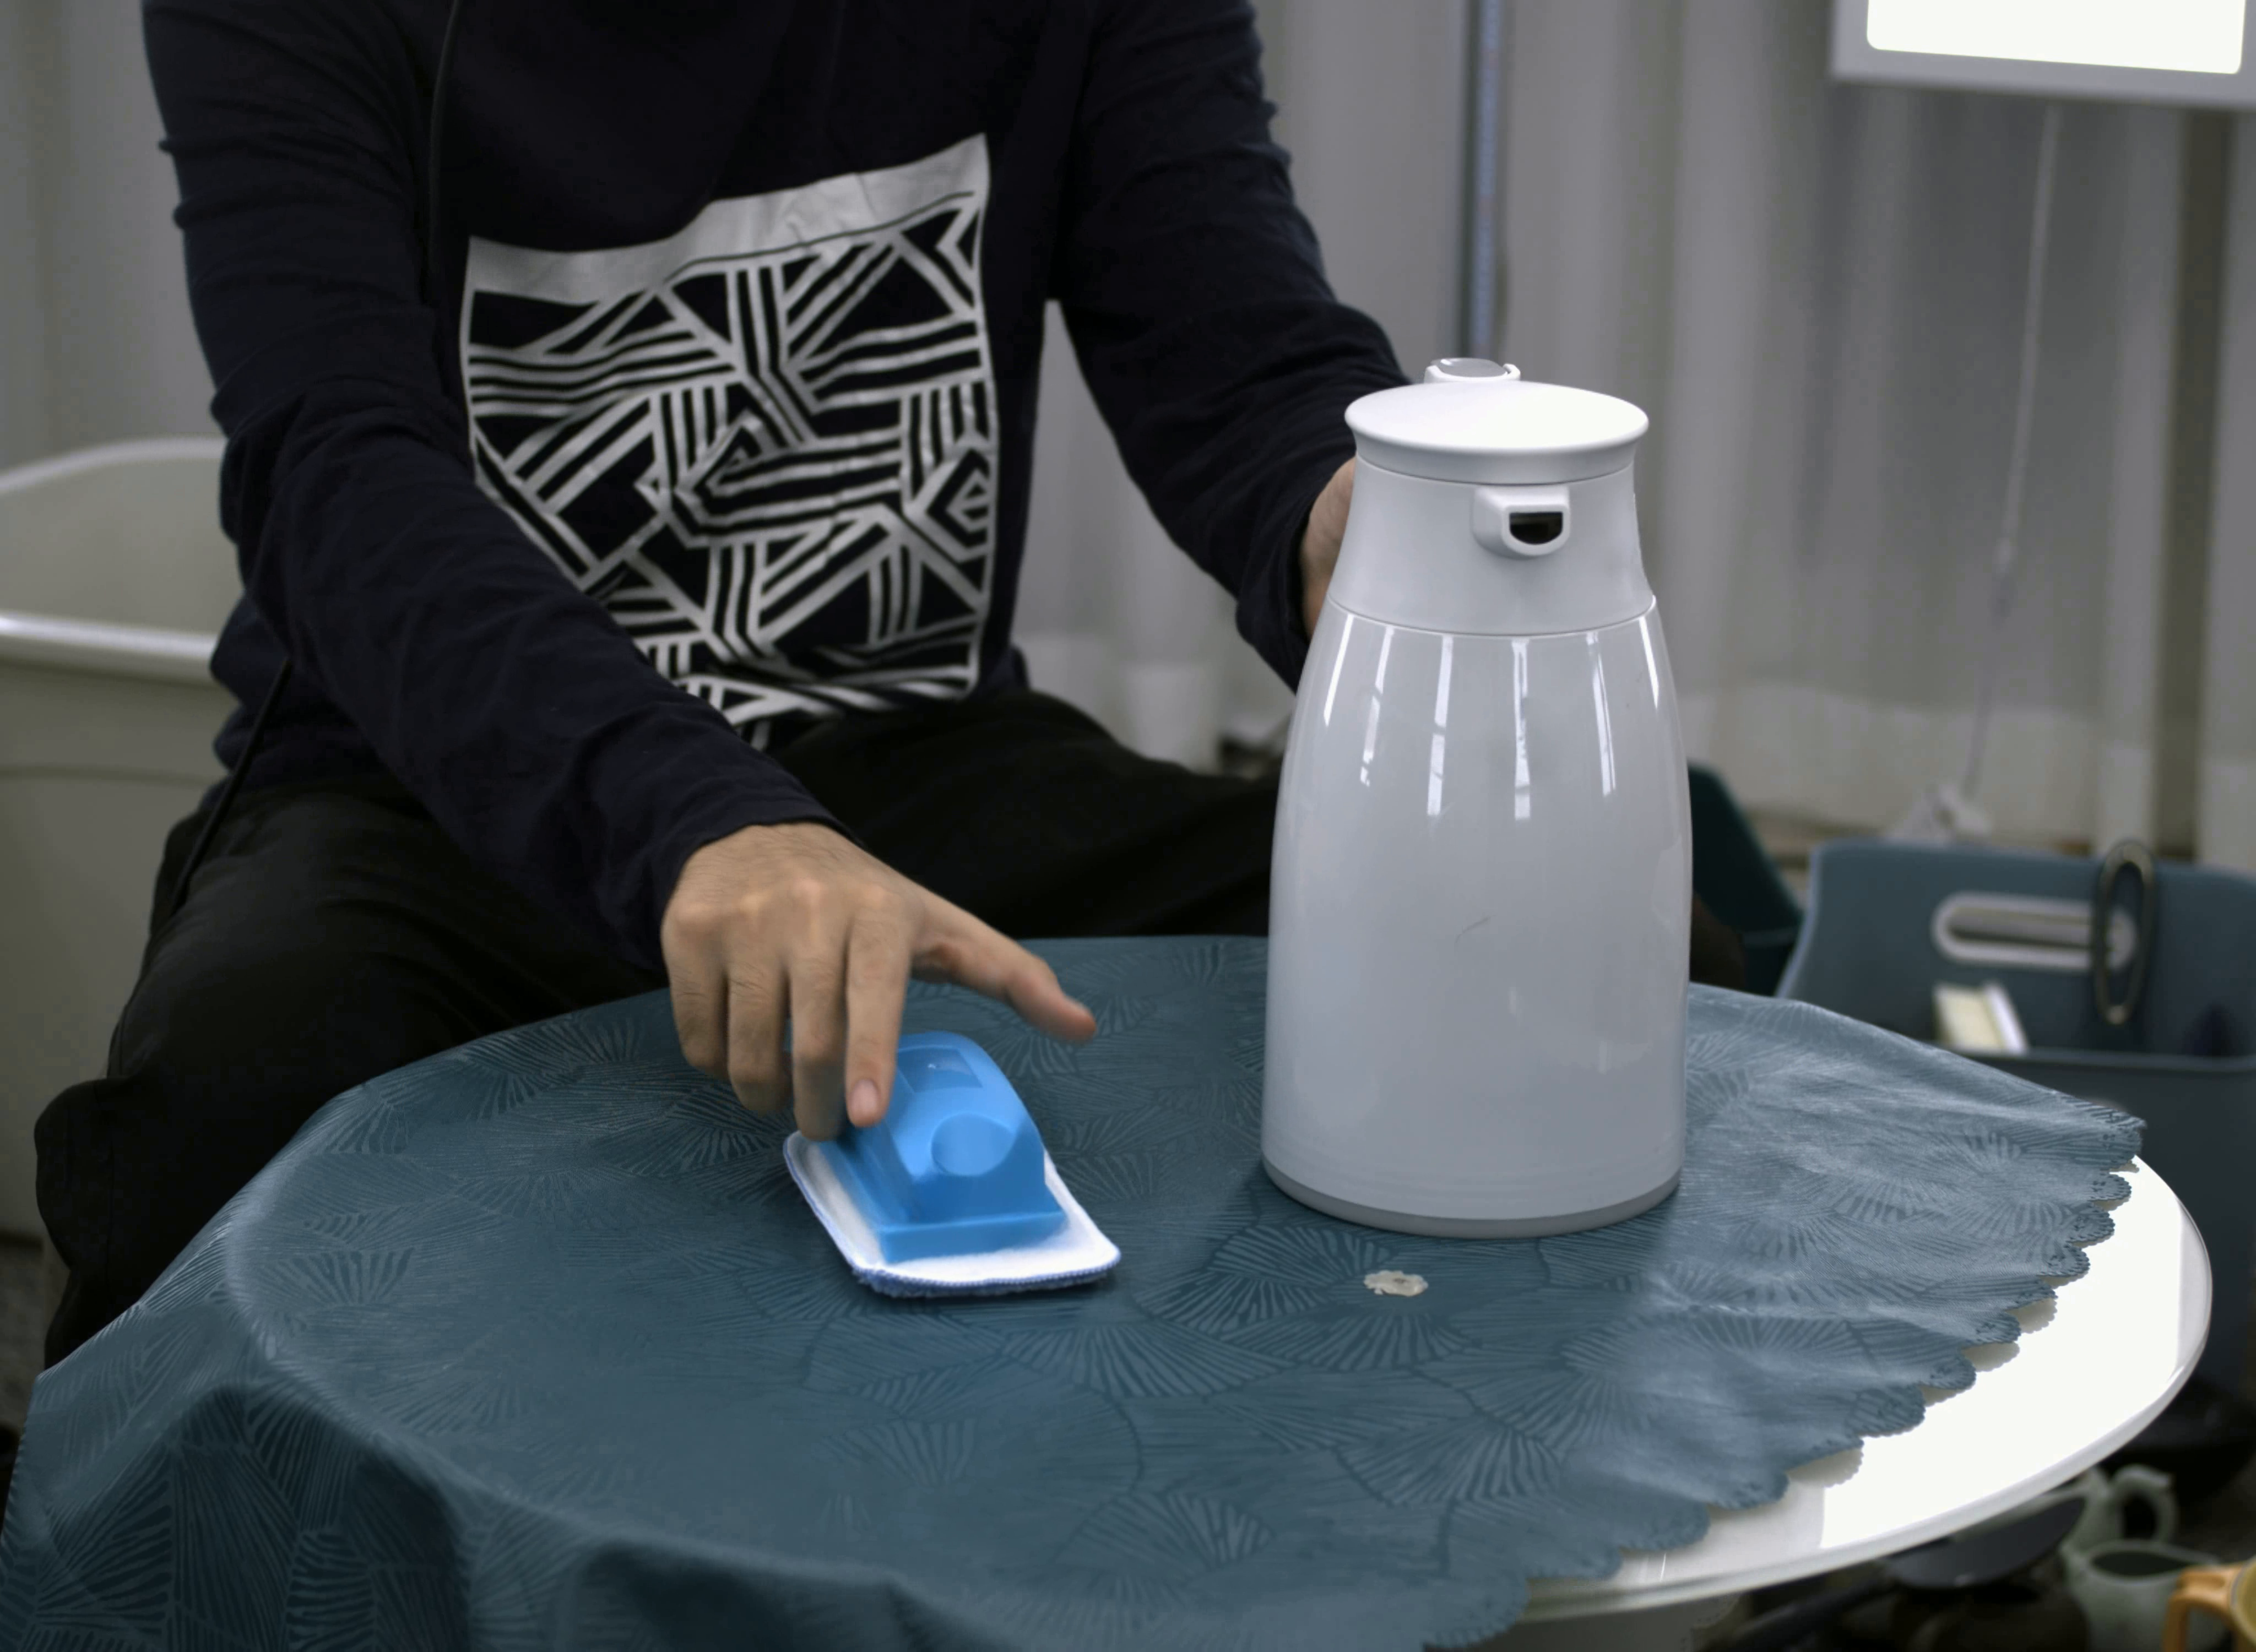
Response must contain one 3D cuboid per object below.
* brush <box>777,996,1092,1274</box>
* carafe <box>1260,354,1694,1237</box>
[{"bbox_3d":[-0.057,0.090,1.590,0.084,0.056,0.142,1,17,-12],"label":"brush"},{"bbox_3d":[0.105,-0.018,1.627,0.132,0.250,0.166,-3,16,-11],"label":"carafe"}]
